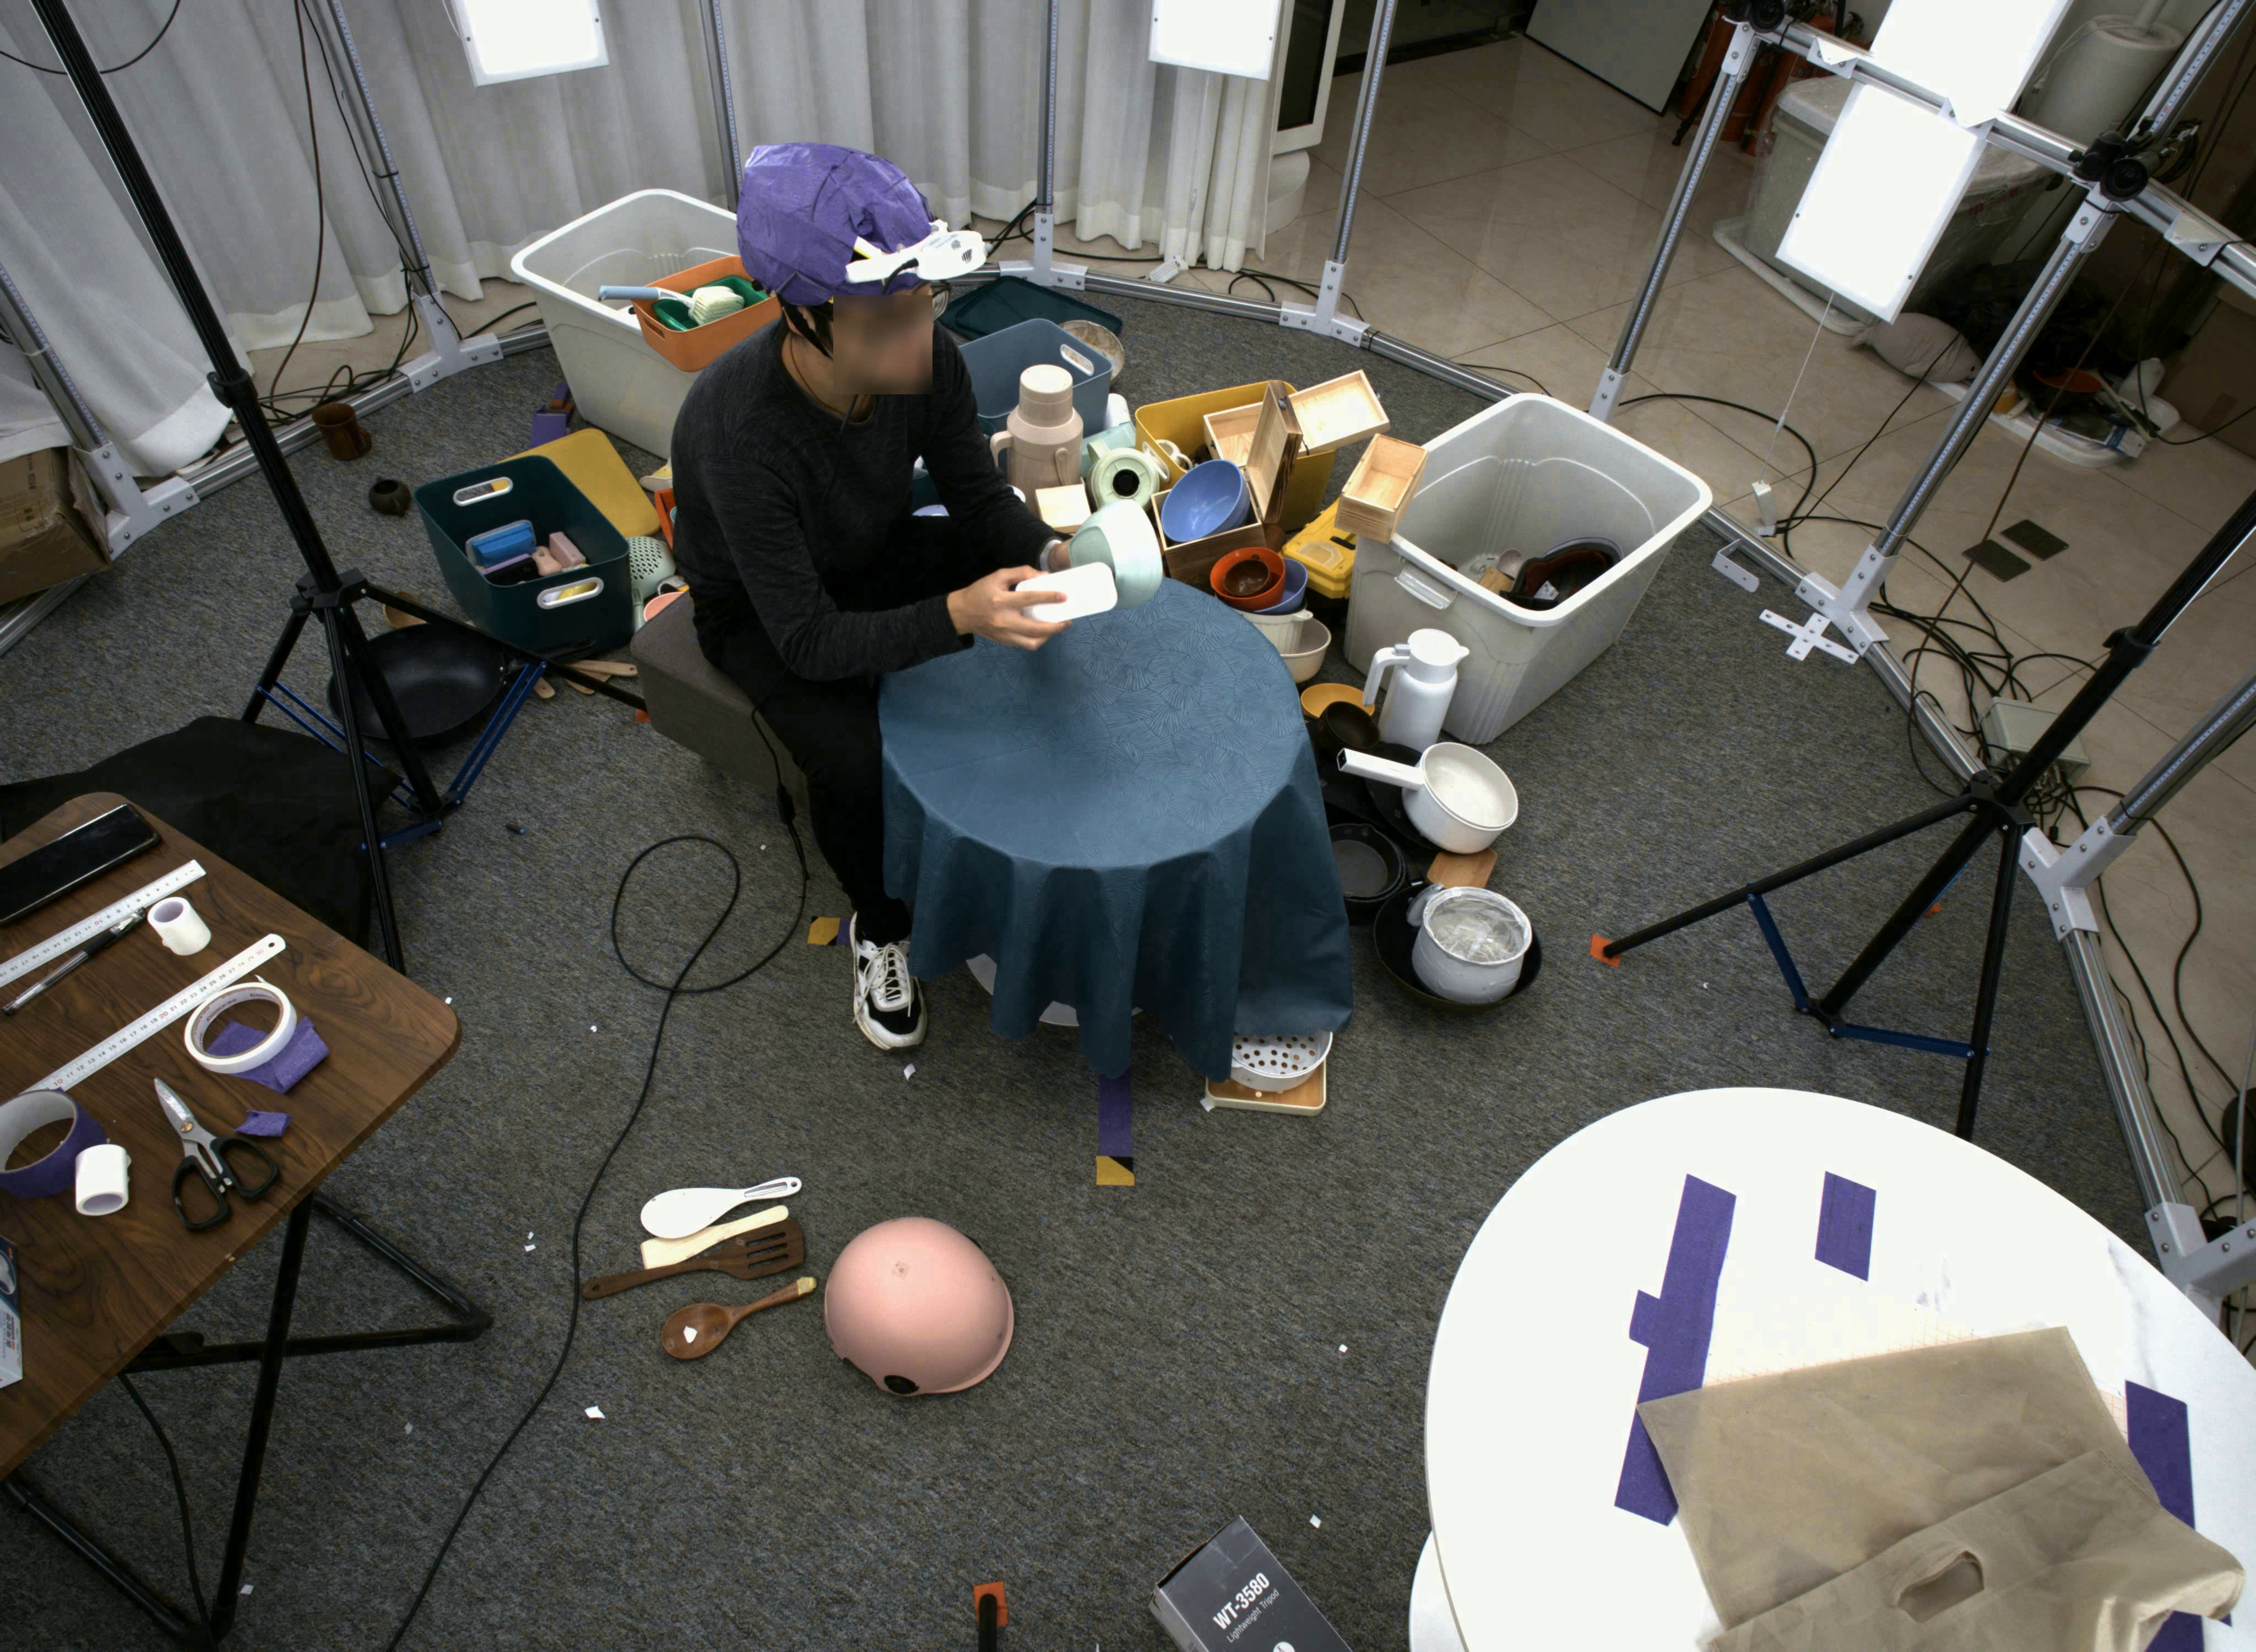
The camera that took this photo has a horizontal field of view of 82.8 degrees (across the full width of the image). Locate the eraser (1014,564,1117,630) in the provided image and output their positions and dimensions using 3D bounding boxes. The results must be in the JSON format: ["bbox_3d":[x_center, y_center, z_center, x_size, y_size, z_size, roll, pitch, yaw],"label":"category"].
[{"bbox_3d":[-0.080,-0.292,1.639,0.131,0.063,0.034,-10,2,16],"label":"eraser"}]

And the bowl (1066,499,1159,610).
[{"bbox_3d":[-0.029,-0.349,1.675,0.059,0.148,0.154,-18,52,-37],"label":"bowl"}]
